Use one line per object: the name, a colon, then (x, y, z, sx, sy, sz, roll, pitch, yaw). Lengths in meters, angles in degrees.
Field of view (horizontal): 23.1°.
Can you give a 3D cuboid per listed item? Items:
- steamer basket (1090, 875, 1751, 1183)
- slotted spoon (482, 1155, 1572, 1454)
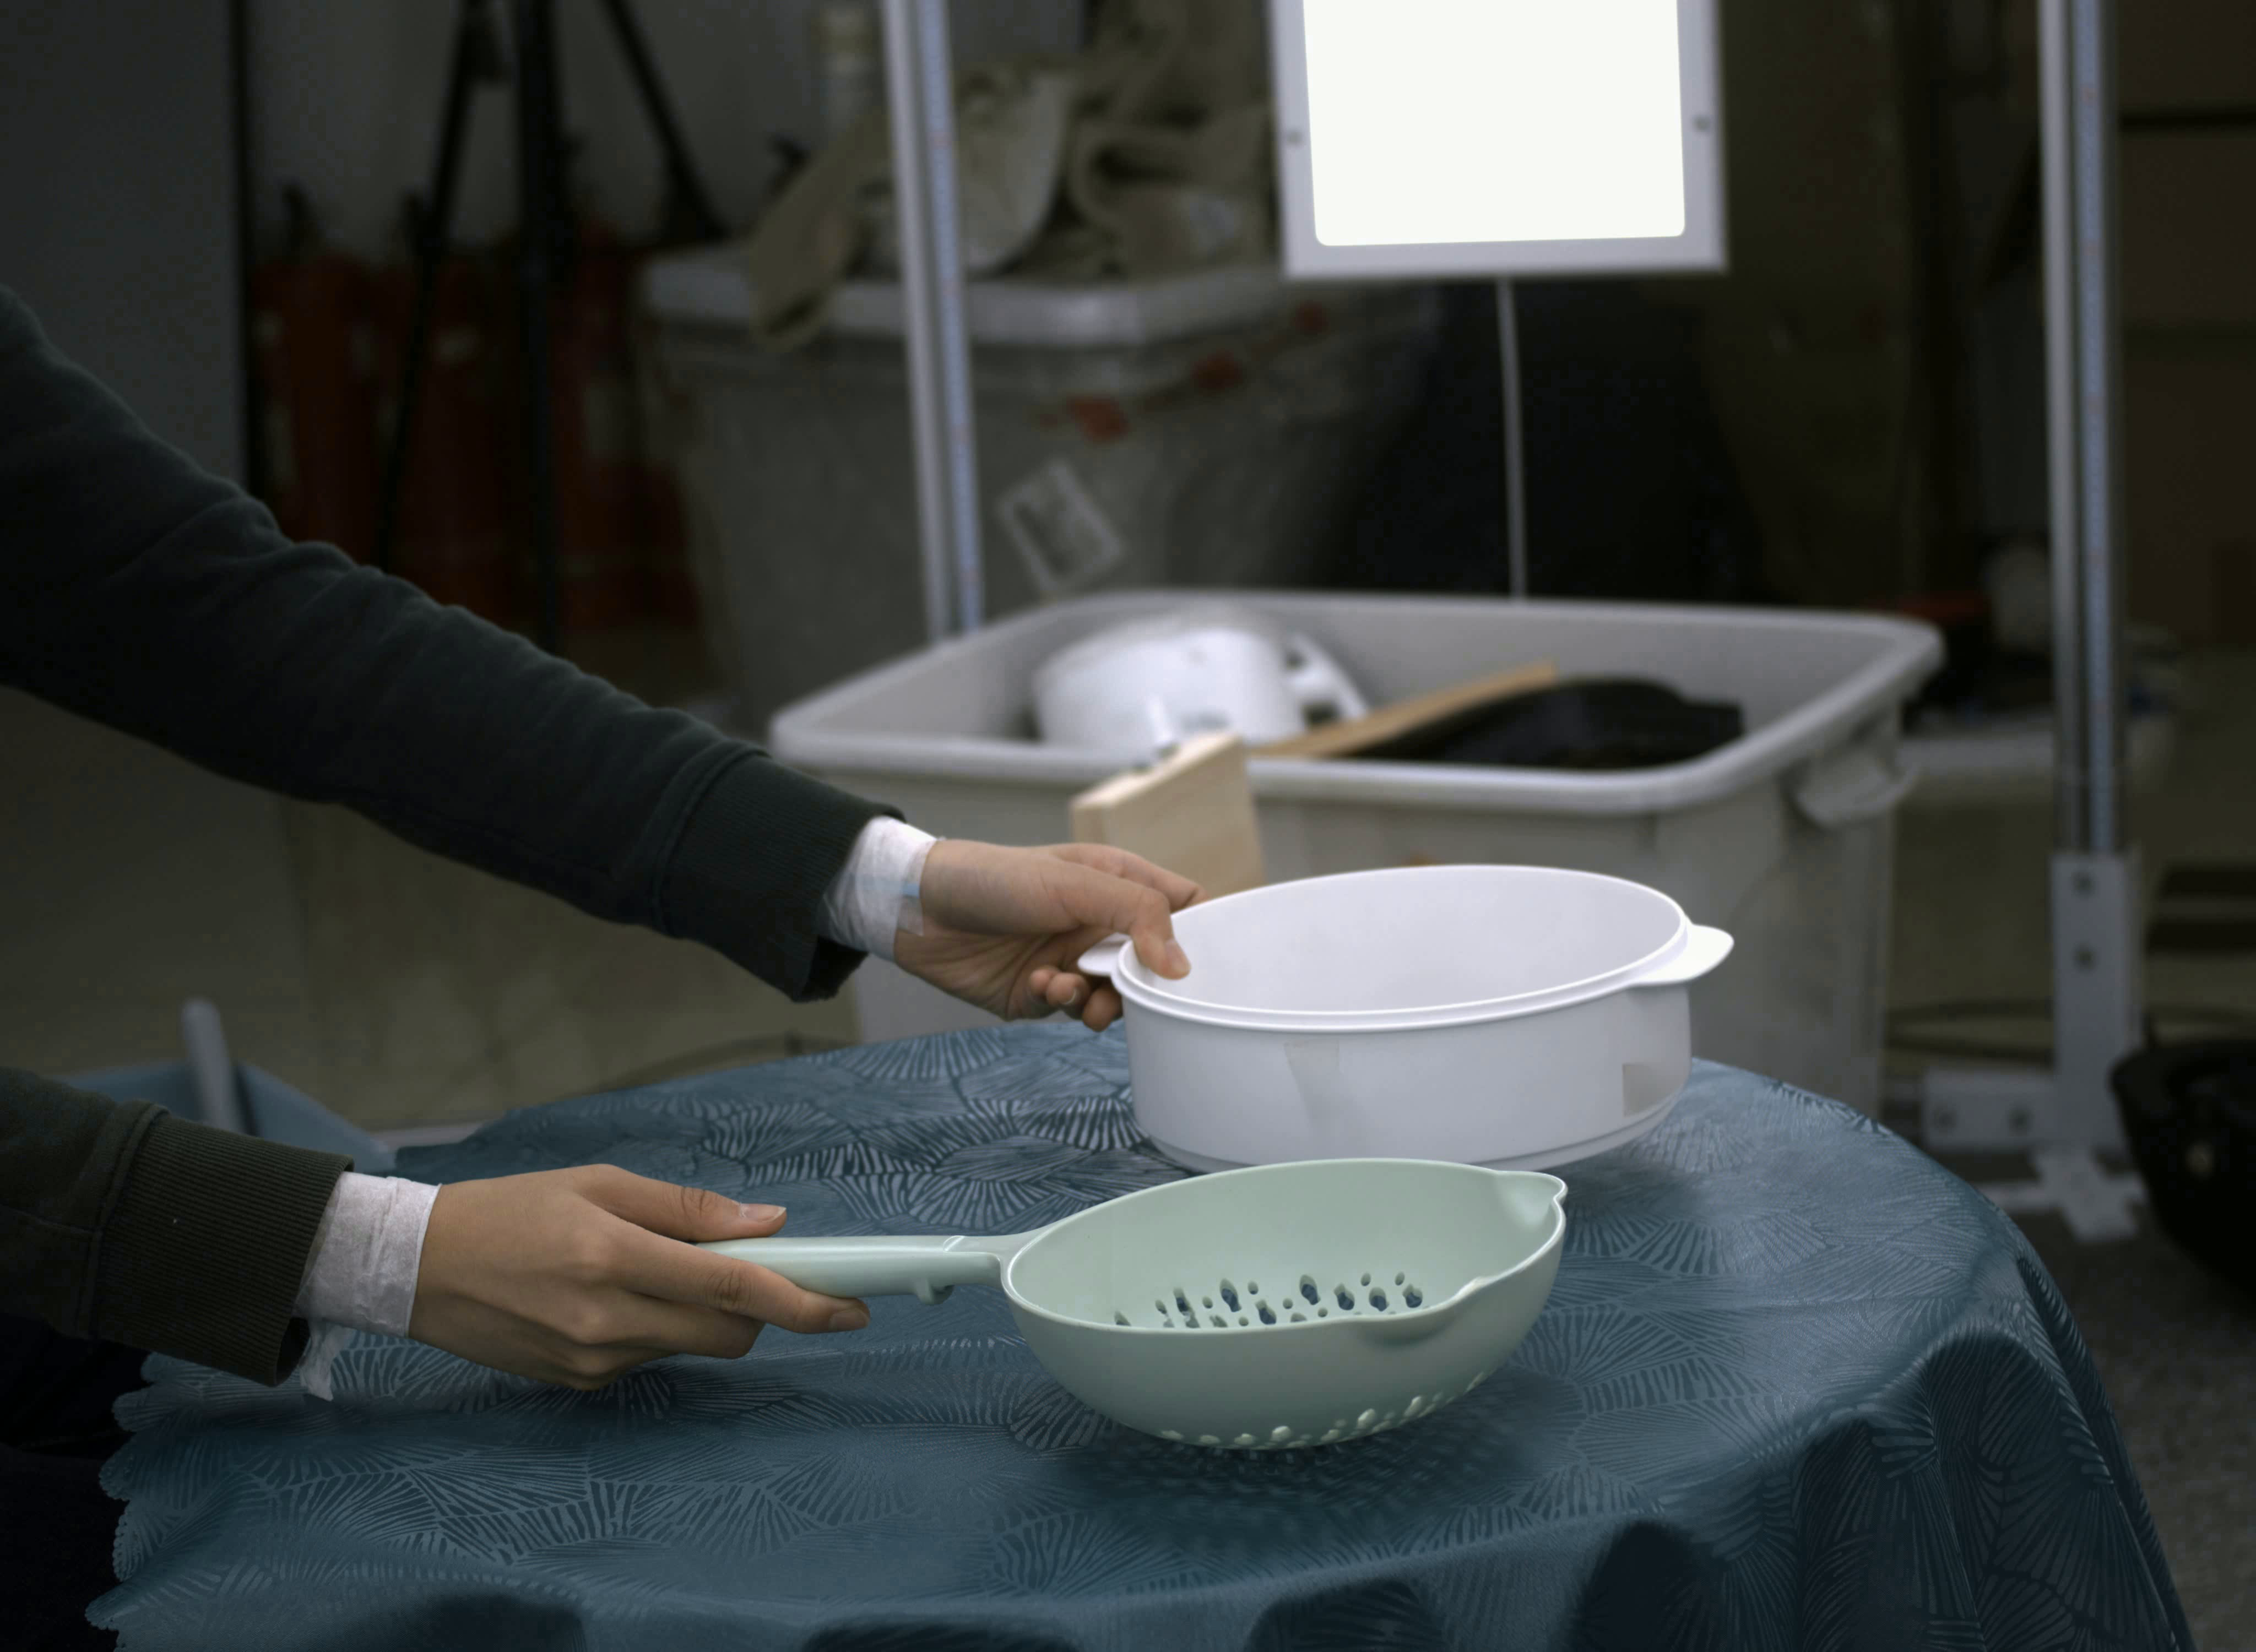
steamer basket: (0.101, 0.071, 1.889, 0.234, 0.069, 0.198, -1, 13, 23)
slotted spoon: (-0.040, 0.139, 1.691, 0.364, 0.076, 0.166, 7, 16, 23)
